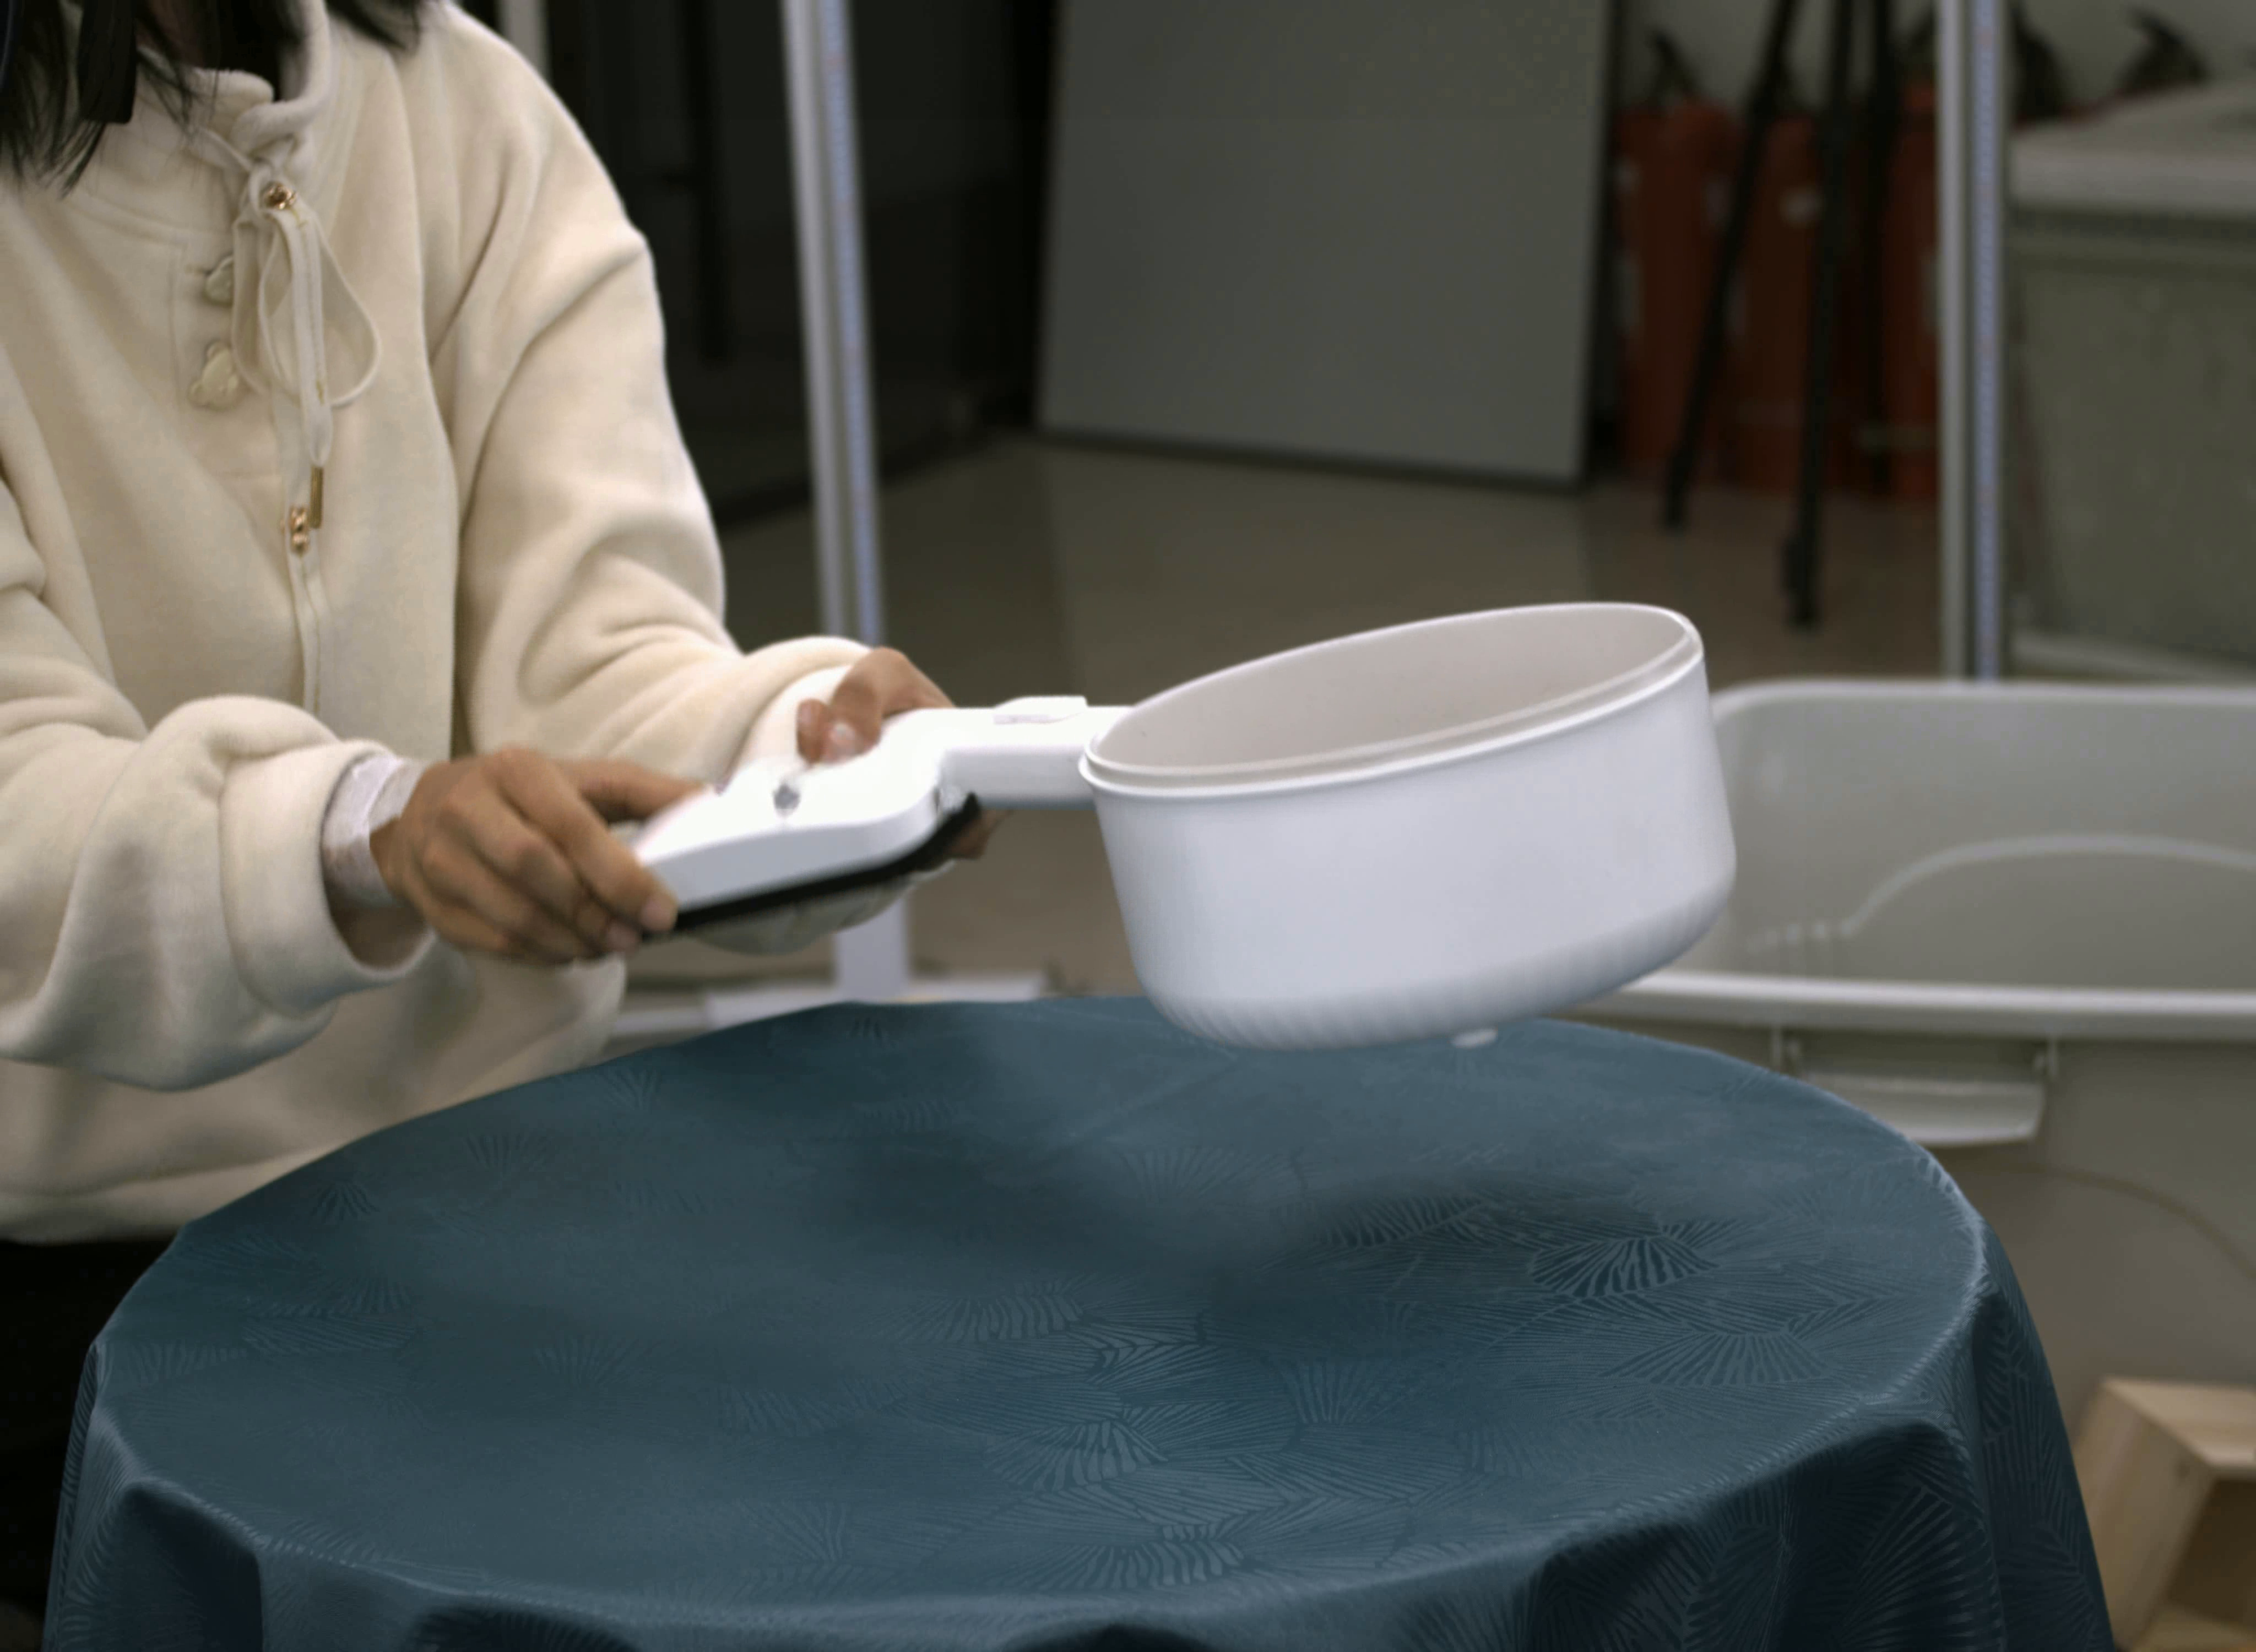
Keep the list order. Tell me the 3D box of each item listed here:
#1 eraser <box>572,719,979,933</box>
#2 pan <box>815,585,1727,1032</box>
[{"bbox_3d":[-0.108,-0.003,1.671,0.132,0.035,0.063,-15,16,33],"label":"eraser"},{"bbox_3d":[0.035,0.002,1.742,0.358,0.103,0.197,-5,11,45],"label":"pan"}]
